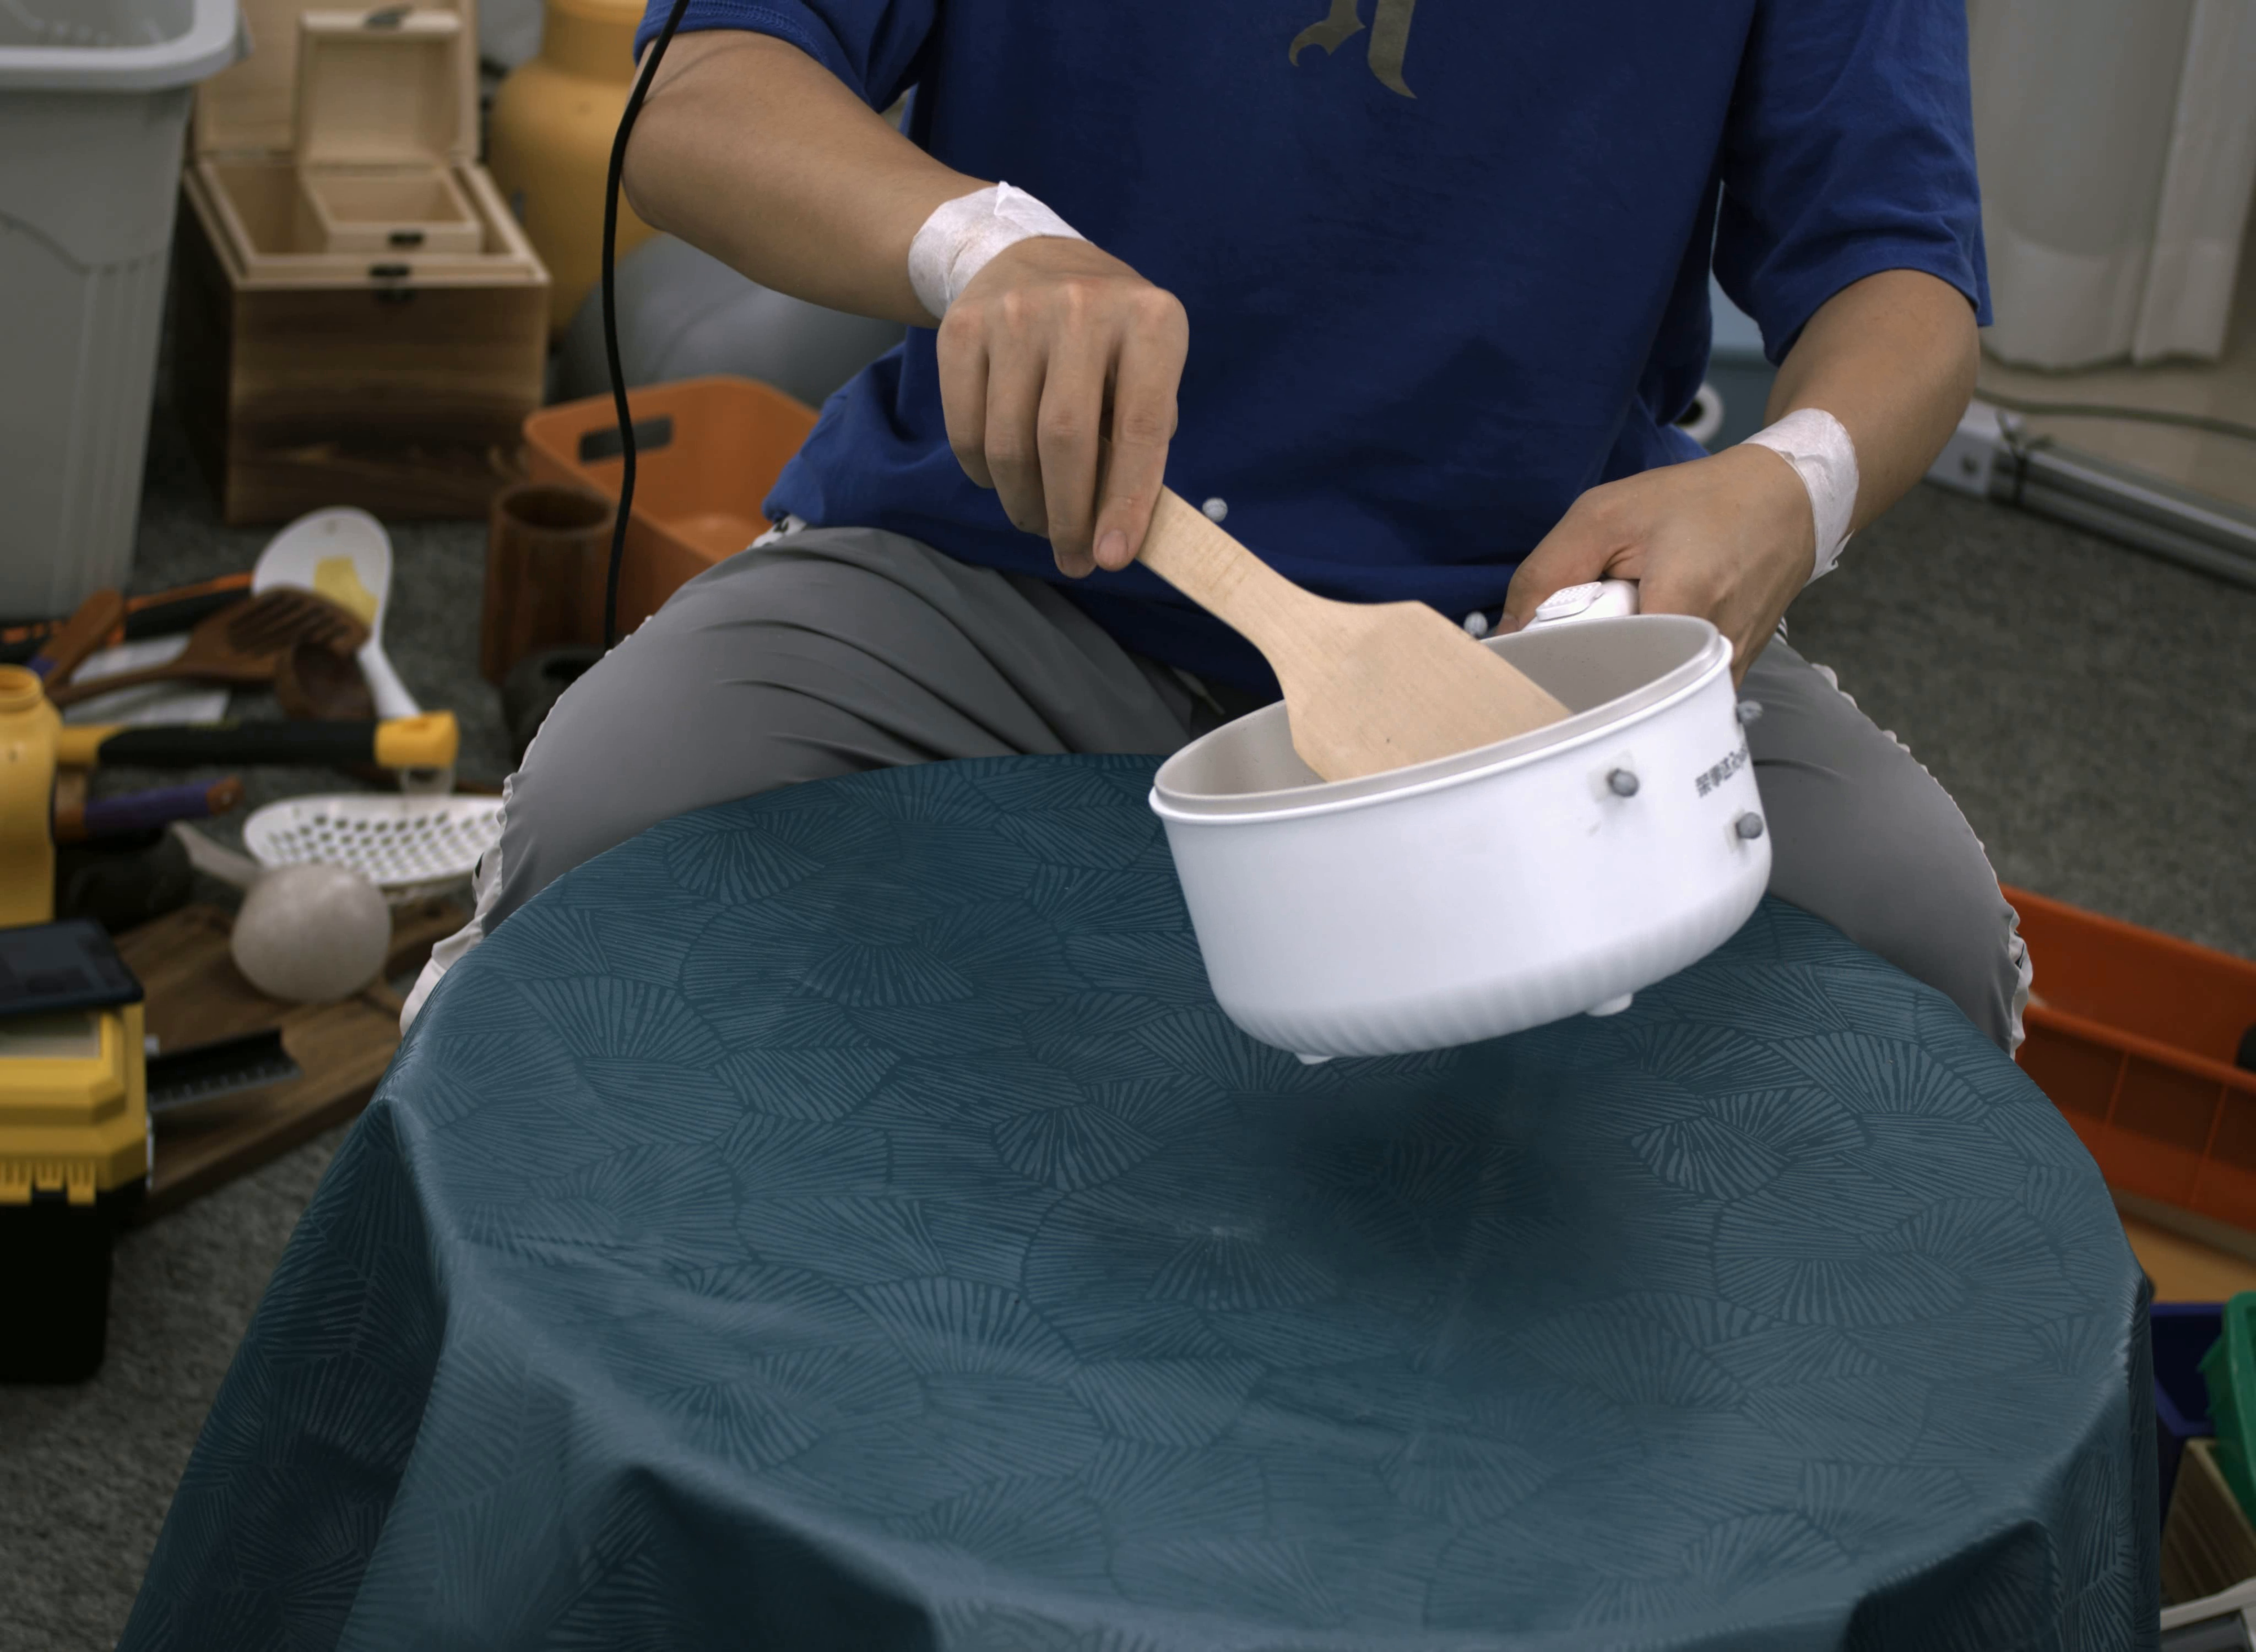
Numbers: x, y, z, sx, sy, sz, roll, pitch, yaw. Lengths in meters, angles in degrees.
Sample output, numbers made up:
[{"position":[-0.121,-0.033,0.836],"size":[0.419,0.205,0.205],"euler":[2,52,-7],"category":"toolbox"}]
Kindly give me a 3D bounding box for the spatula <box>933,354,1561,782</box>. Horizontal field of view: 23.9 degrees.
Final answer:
[{"position":[0.032,-0.085,1.835],"size":[0.295,0.072,0.010],"euler":[39,-1,33],"category":"spatula"}]

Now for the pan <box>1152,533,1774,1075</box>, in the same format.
[{"position":[0.143,-0.013,1.852],"size":[0.201,0.102,0.354],"euler":[-13,11,24],"category":"pan"}]
